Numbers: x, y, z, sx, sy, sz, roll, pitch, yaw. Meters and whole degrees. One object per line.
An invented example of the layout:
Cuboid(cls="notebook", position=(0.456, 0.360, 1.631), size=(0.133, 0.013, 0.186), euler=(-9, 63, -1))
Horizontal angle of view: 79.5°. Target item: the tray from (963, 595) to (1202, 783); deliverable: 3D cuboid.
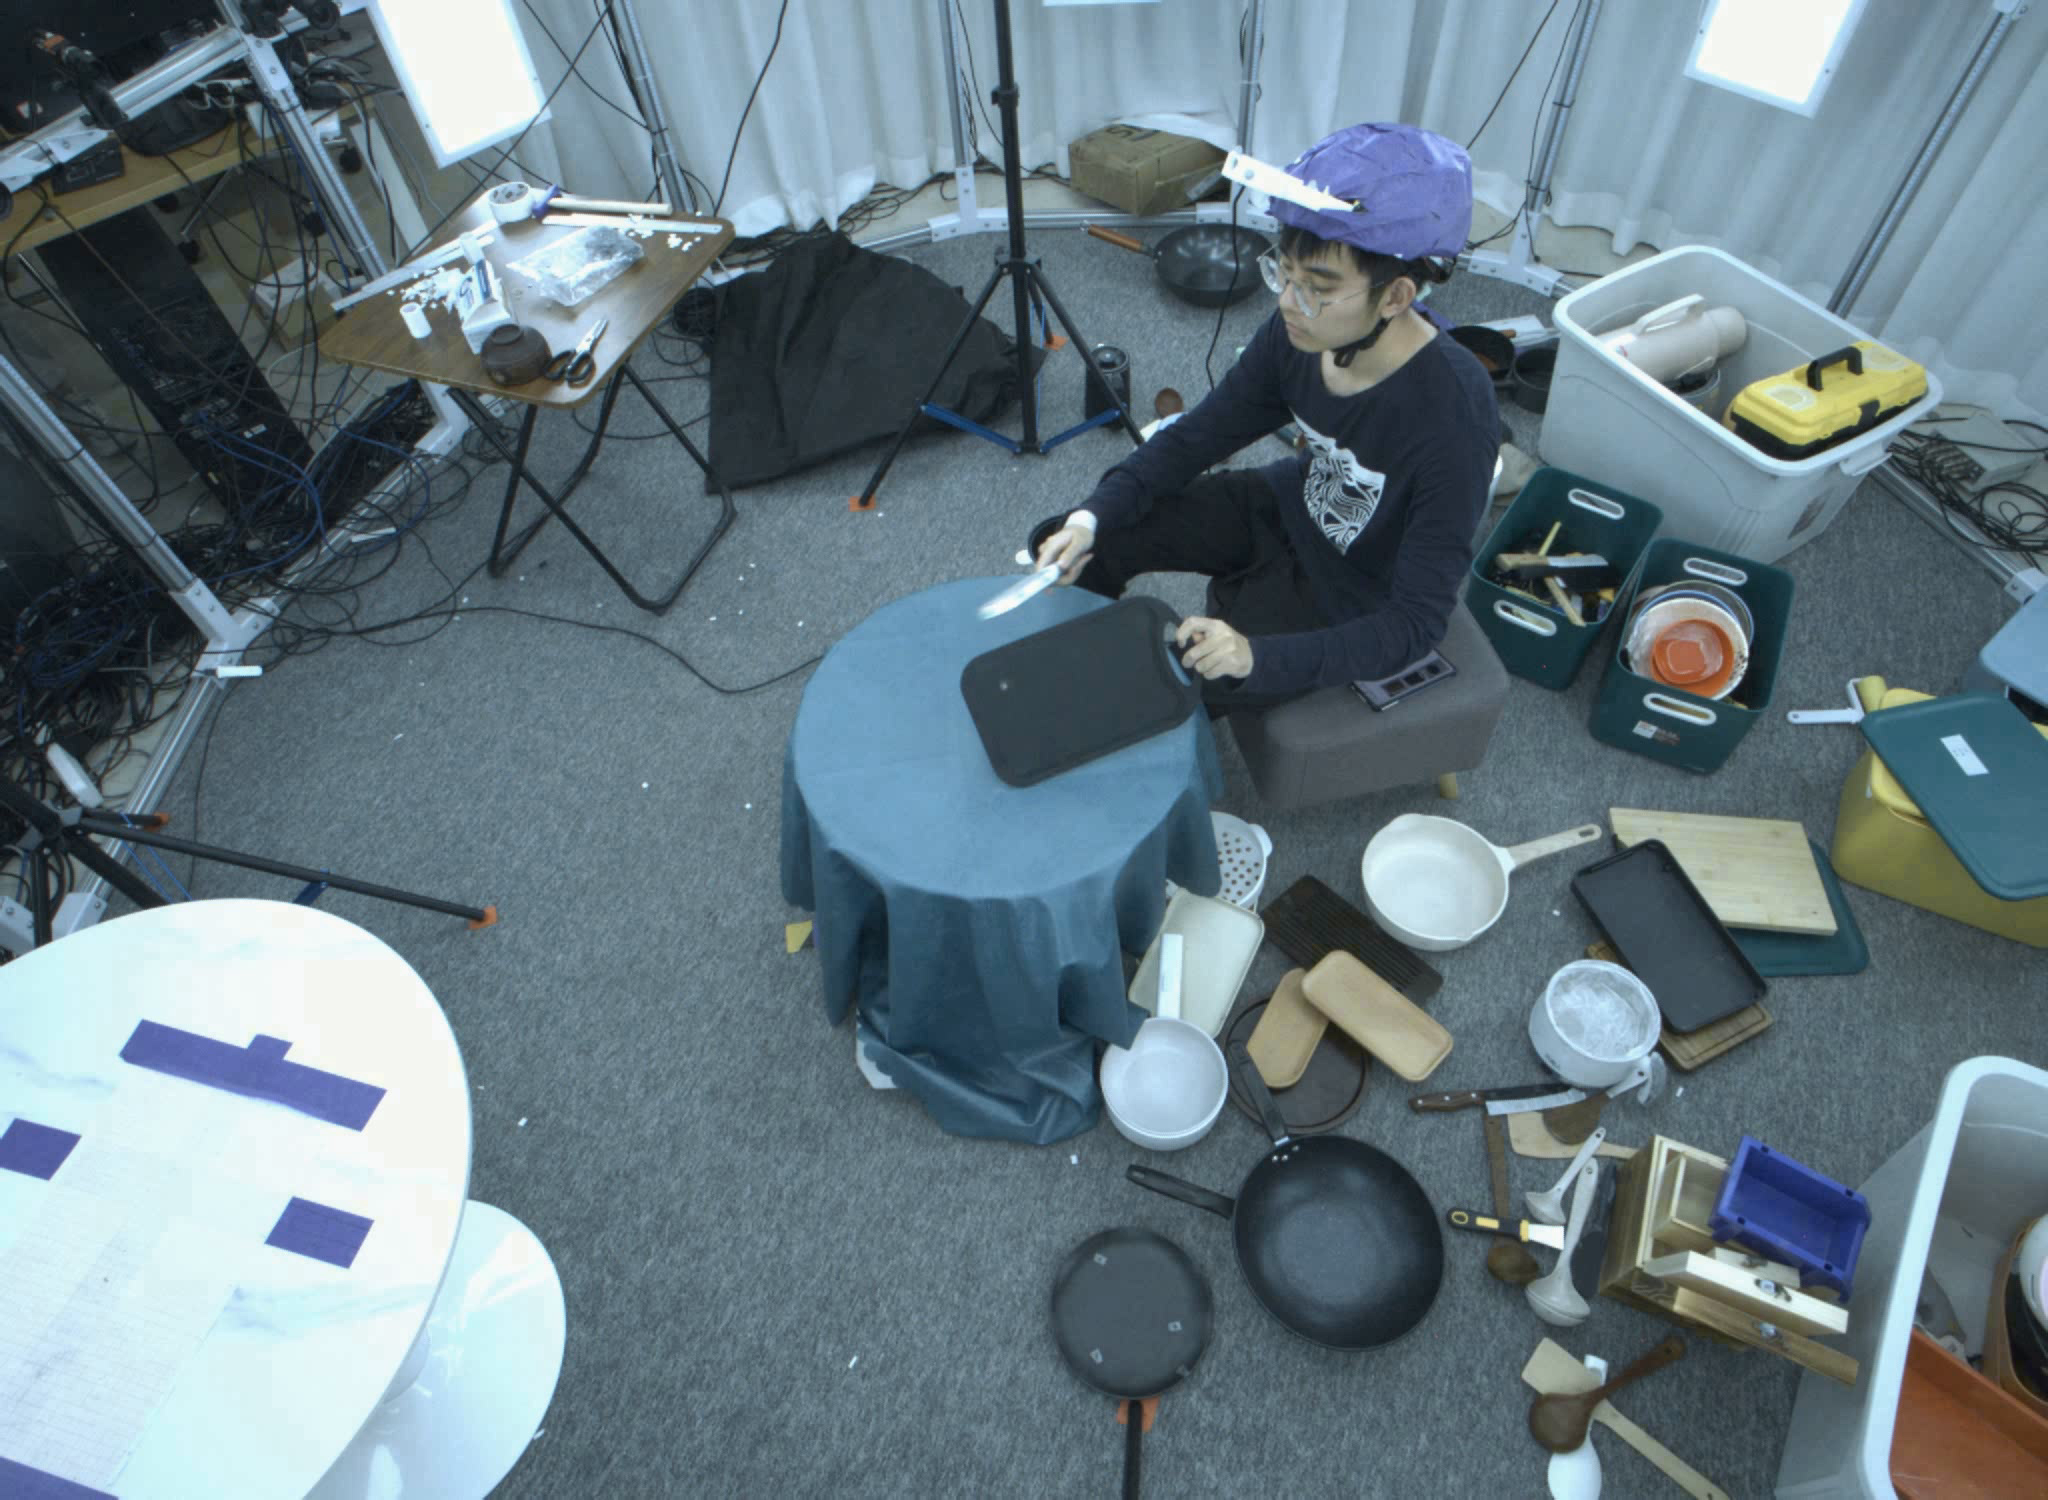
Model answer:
Cuboid(cls="tray", position=(0.088, -0.086, 1.714), size=(0.325, 0.214, 0.009), euler=(-20, 25, 0))

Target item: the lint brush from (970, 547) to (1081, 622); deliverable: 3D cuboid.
Cuboid(cls="lint brush", position=(0.011, -0.240, 1.747), size=(0.059, 0.021, 0.311), euler=(-18, 14, 34))
